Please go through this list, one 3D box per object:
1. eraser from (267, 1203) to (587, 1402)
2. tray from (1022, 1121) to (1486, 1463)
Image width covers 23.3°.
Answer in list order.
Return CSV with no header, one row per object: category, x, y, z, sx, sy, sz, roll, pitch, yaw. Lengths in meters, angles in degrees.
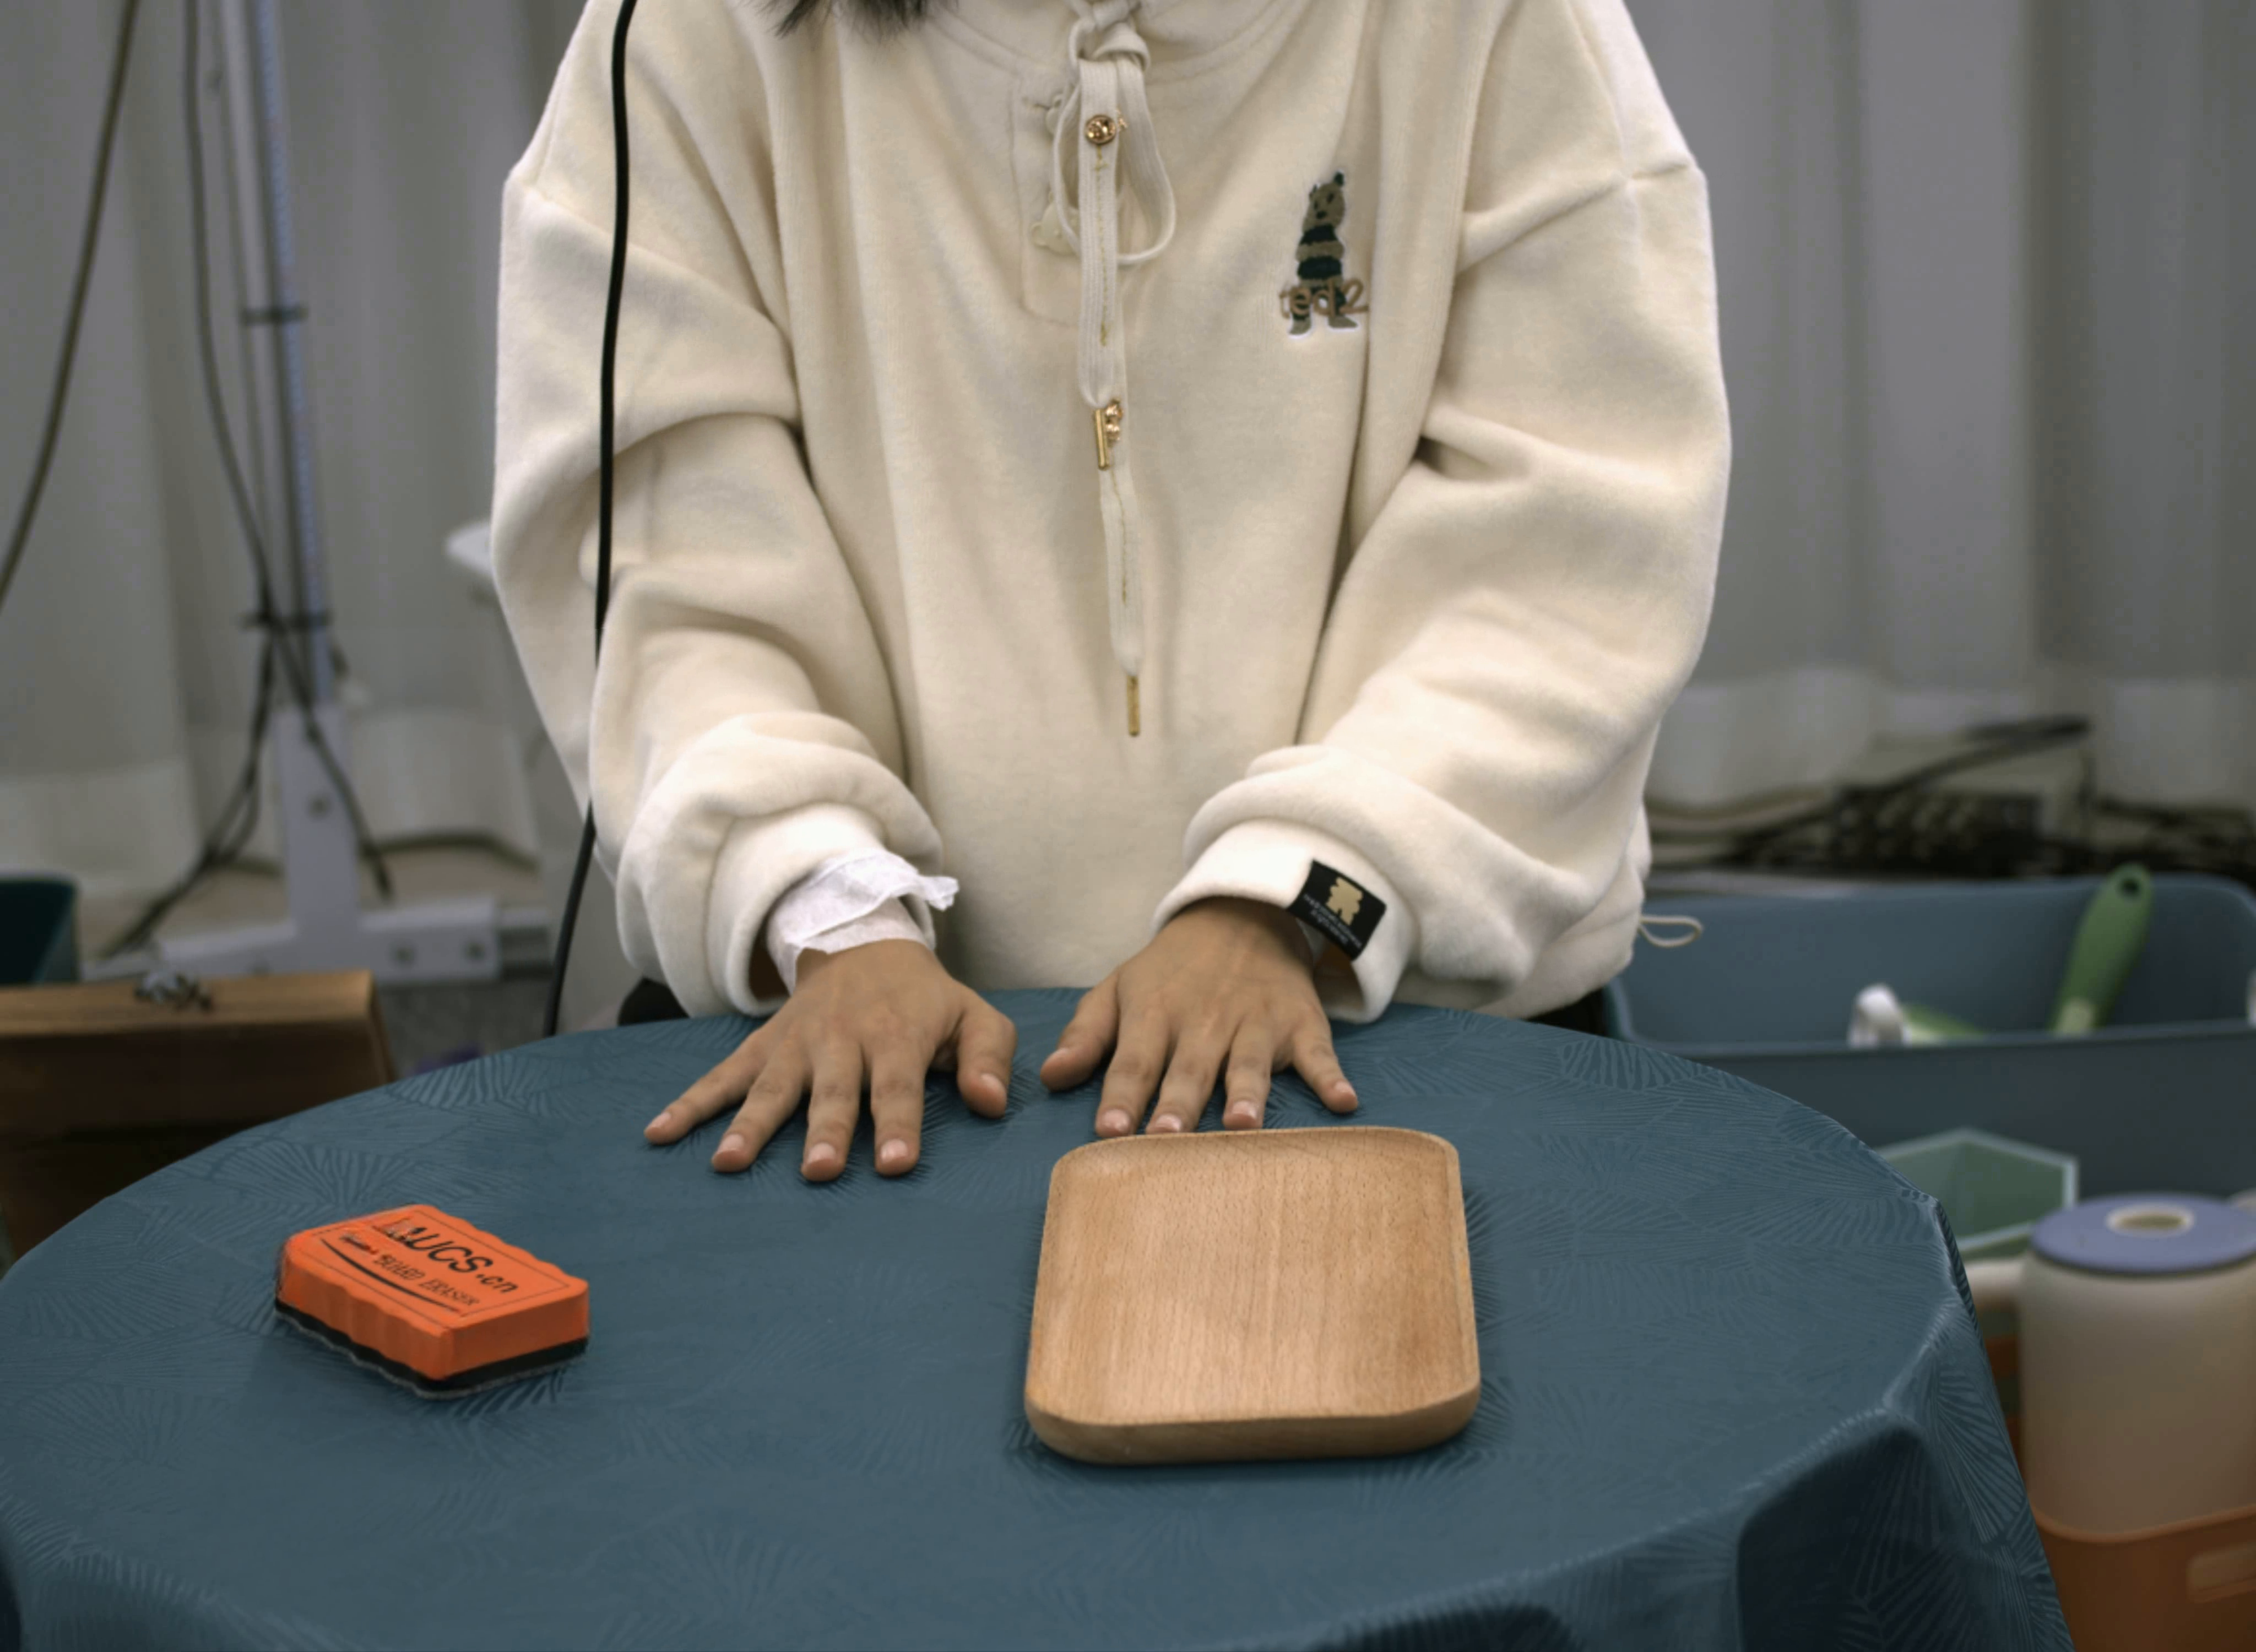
eraser,-0.207,0.140,1.615,0.059,0.023,0.109,-14,19,-32
tray,0.039,0.134,1.600,0.130,0.023,0.252,1,15,3
